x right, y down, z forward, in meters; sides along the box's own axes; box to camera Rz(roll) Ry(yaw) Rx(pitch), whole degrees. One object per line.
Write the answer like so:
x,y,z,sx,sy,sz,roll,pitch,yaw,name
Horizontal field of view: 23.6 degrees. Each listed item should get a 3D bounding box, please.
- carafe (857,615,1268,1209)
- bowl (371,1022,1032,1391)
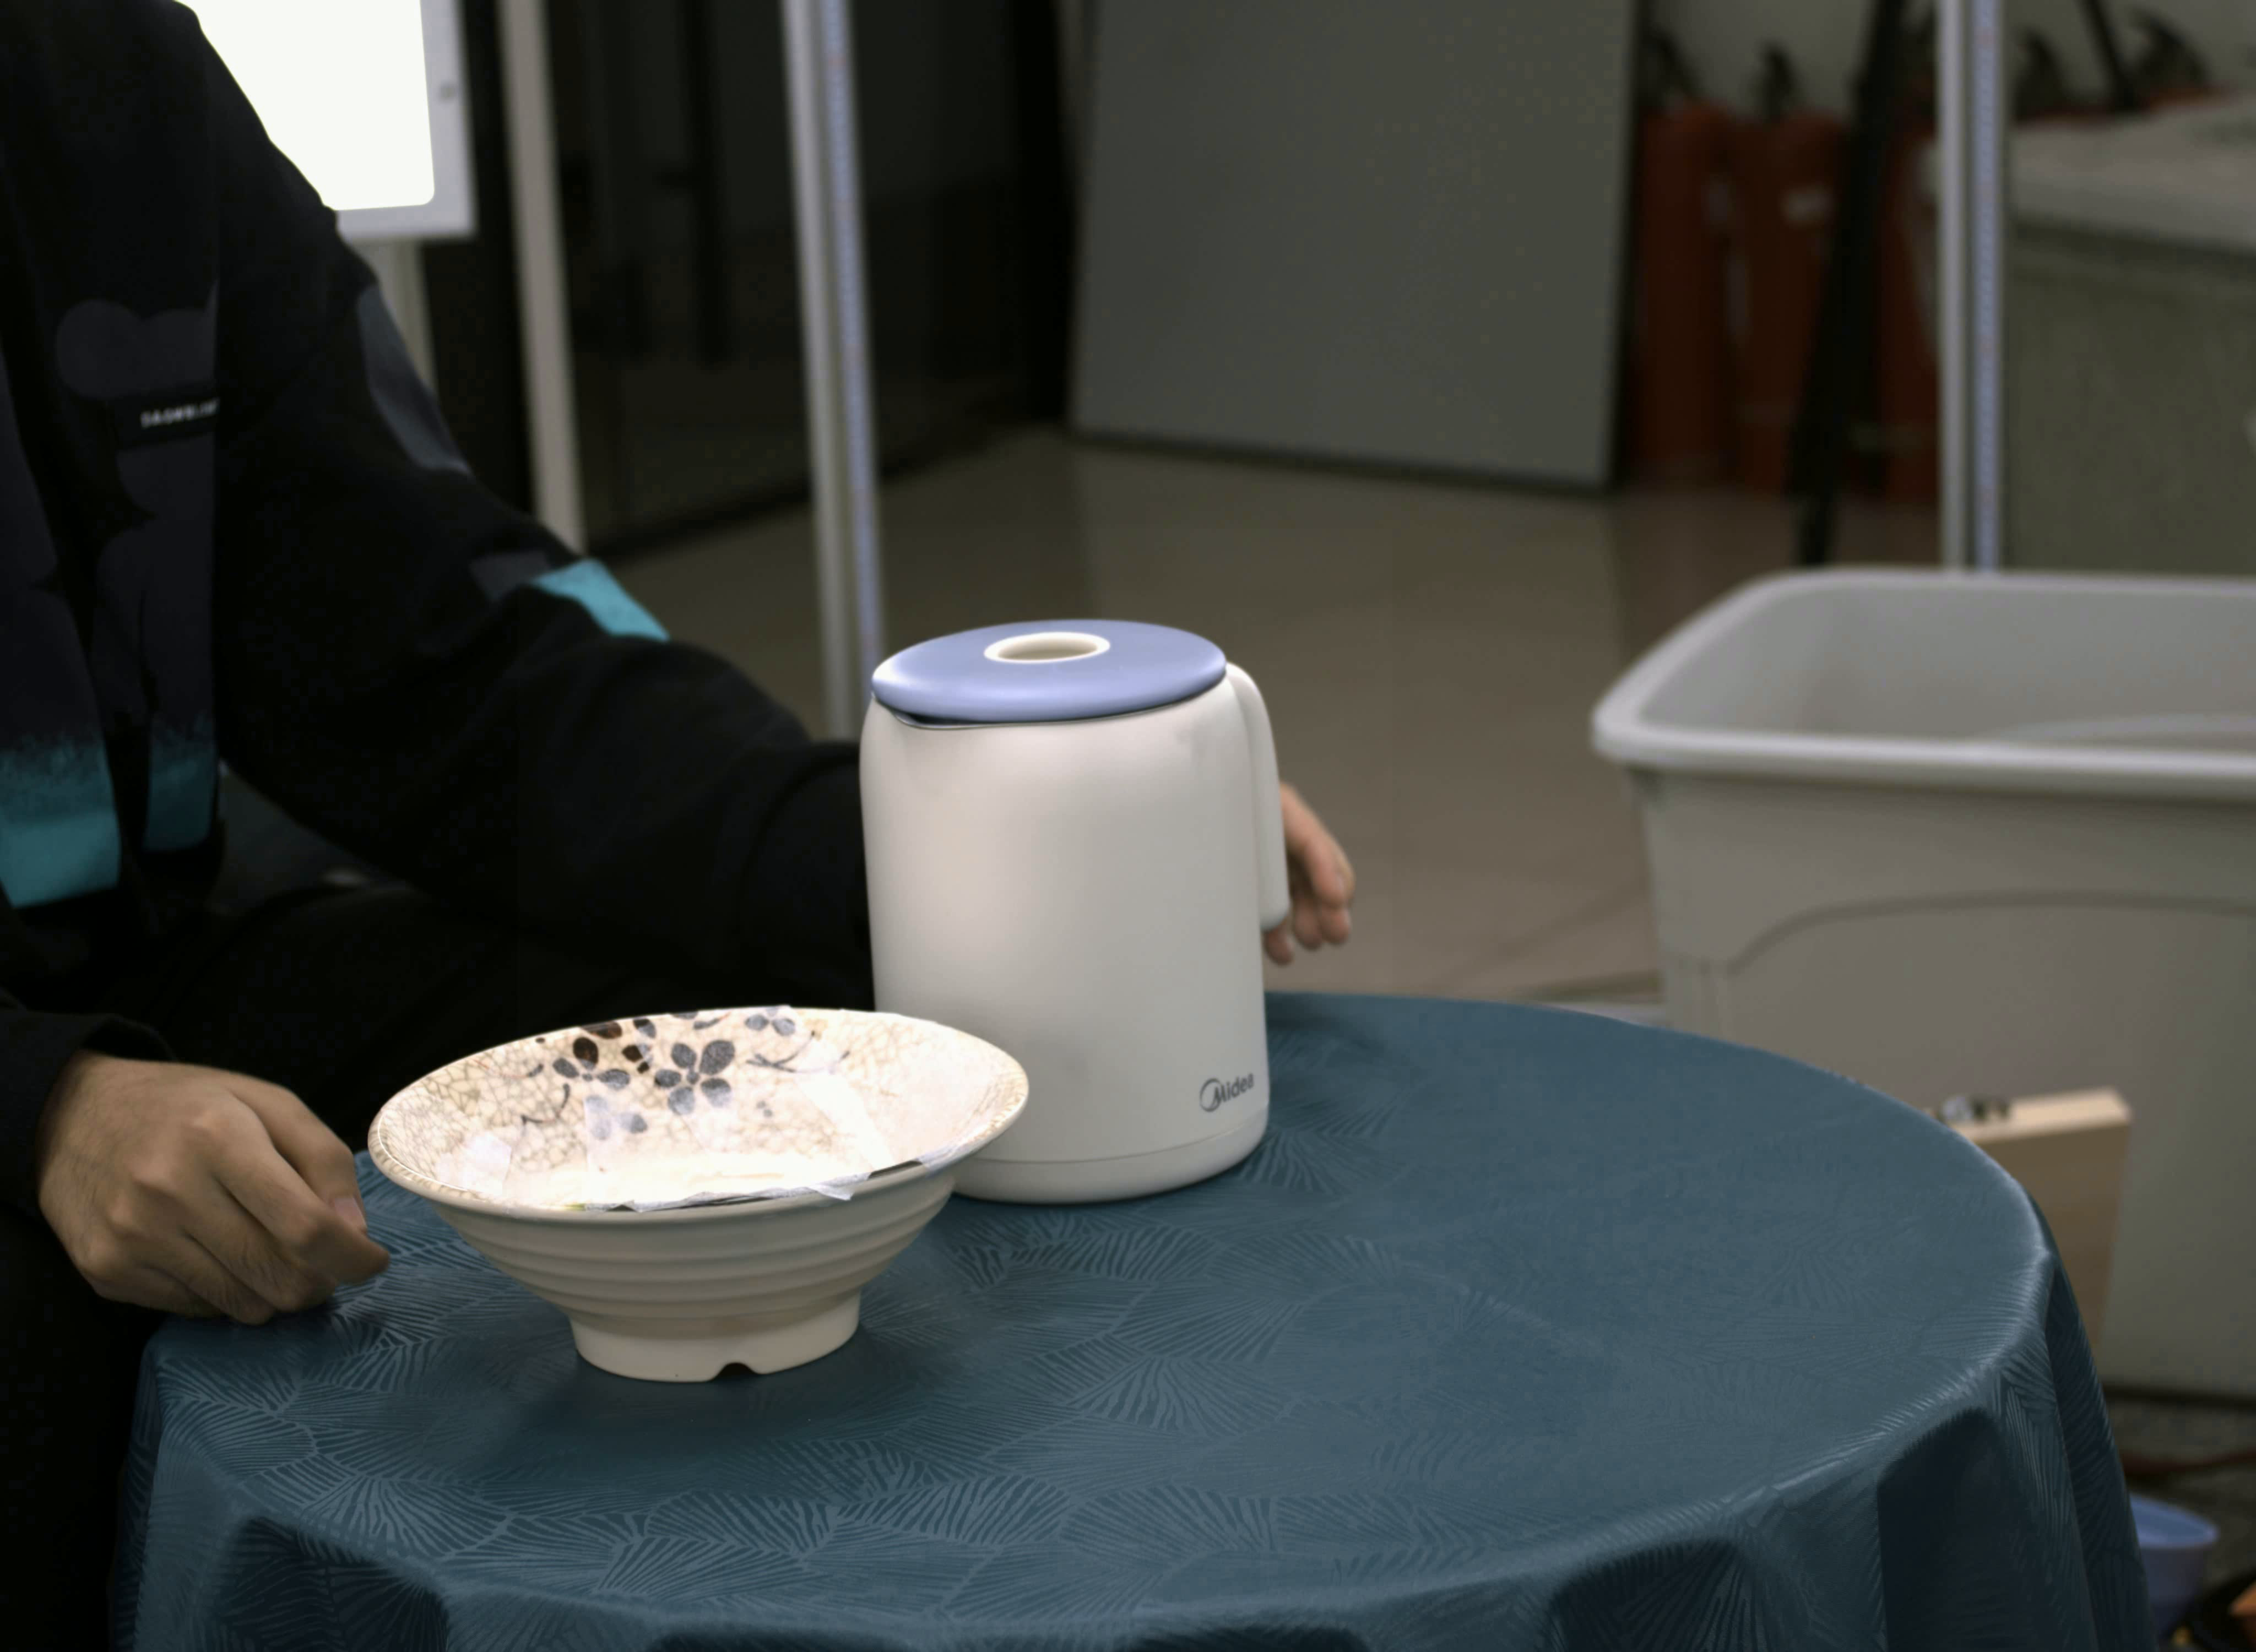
-0.009,0.023,1.816,0.133,0.184,0.187,8,15,35,carafe
-0.126,0.122,1.649,0.201,0.079,0.204,-6,12,0,bowl
